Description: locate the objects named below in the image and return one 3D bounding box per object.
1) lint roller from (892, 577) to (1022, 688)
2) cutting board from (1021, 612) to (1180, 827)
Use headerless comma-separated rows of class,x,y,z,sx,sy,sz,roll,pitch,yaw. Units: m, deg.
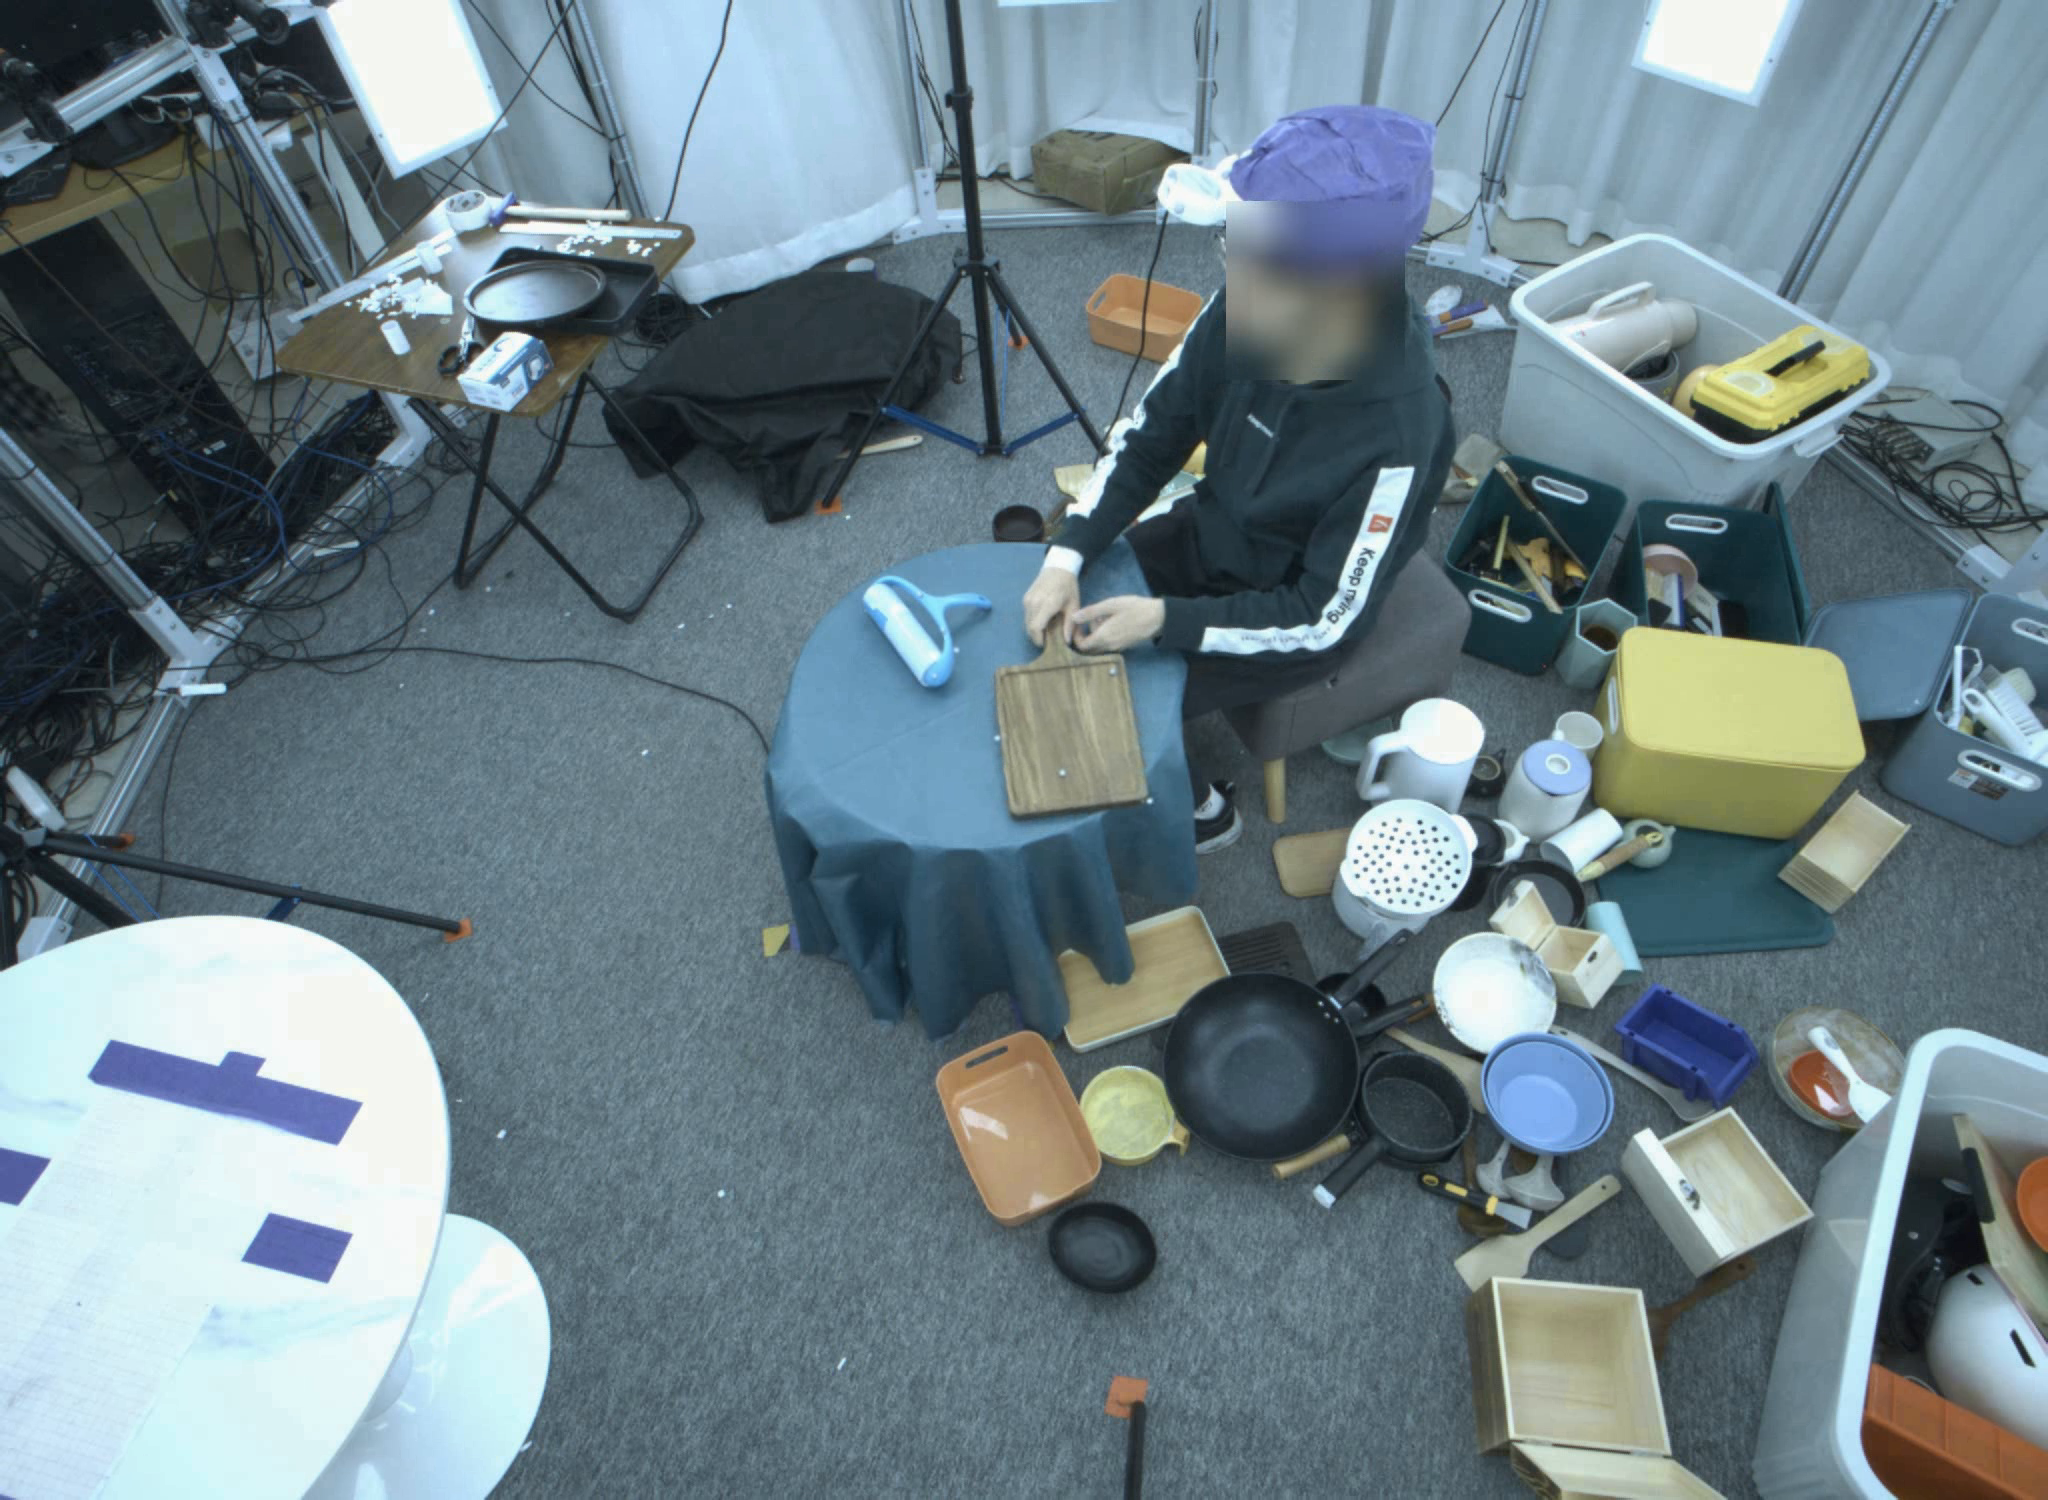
lint roller,-0.087,-0.205,1.896,0.181,0.069,0.224,-30,57,-16
cutting board,0.101,-0.056,1.787,0.201,0.023,0.348,-5,60,-2
